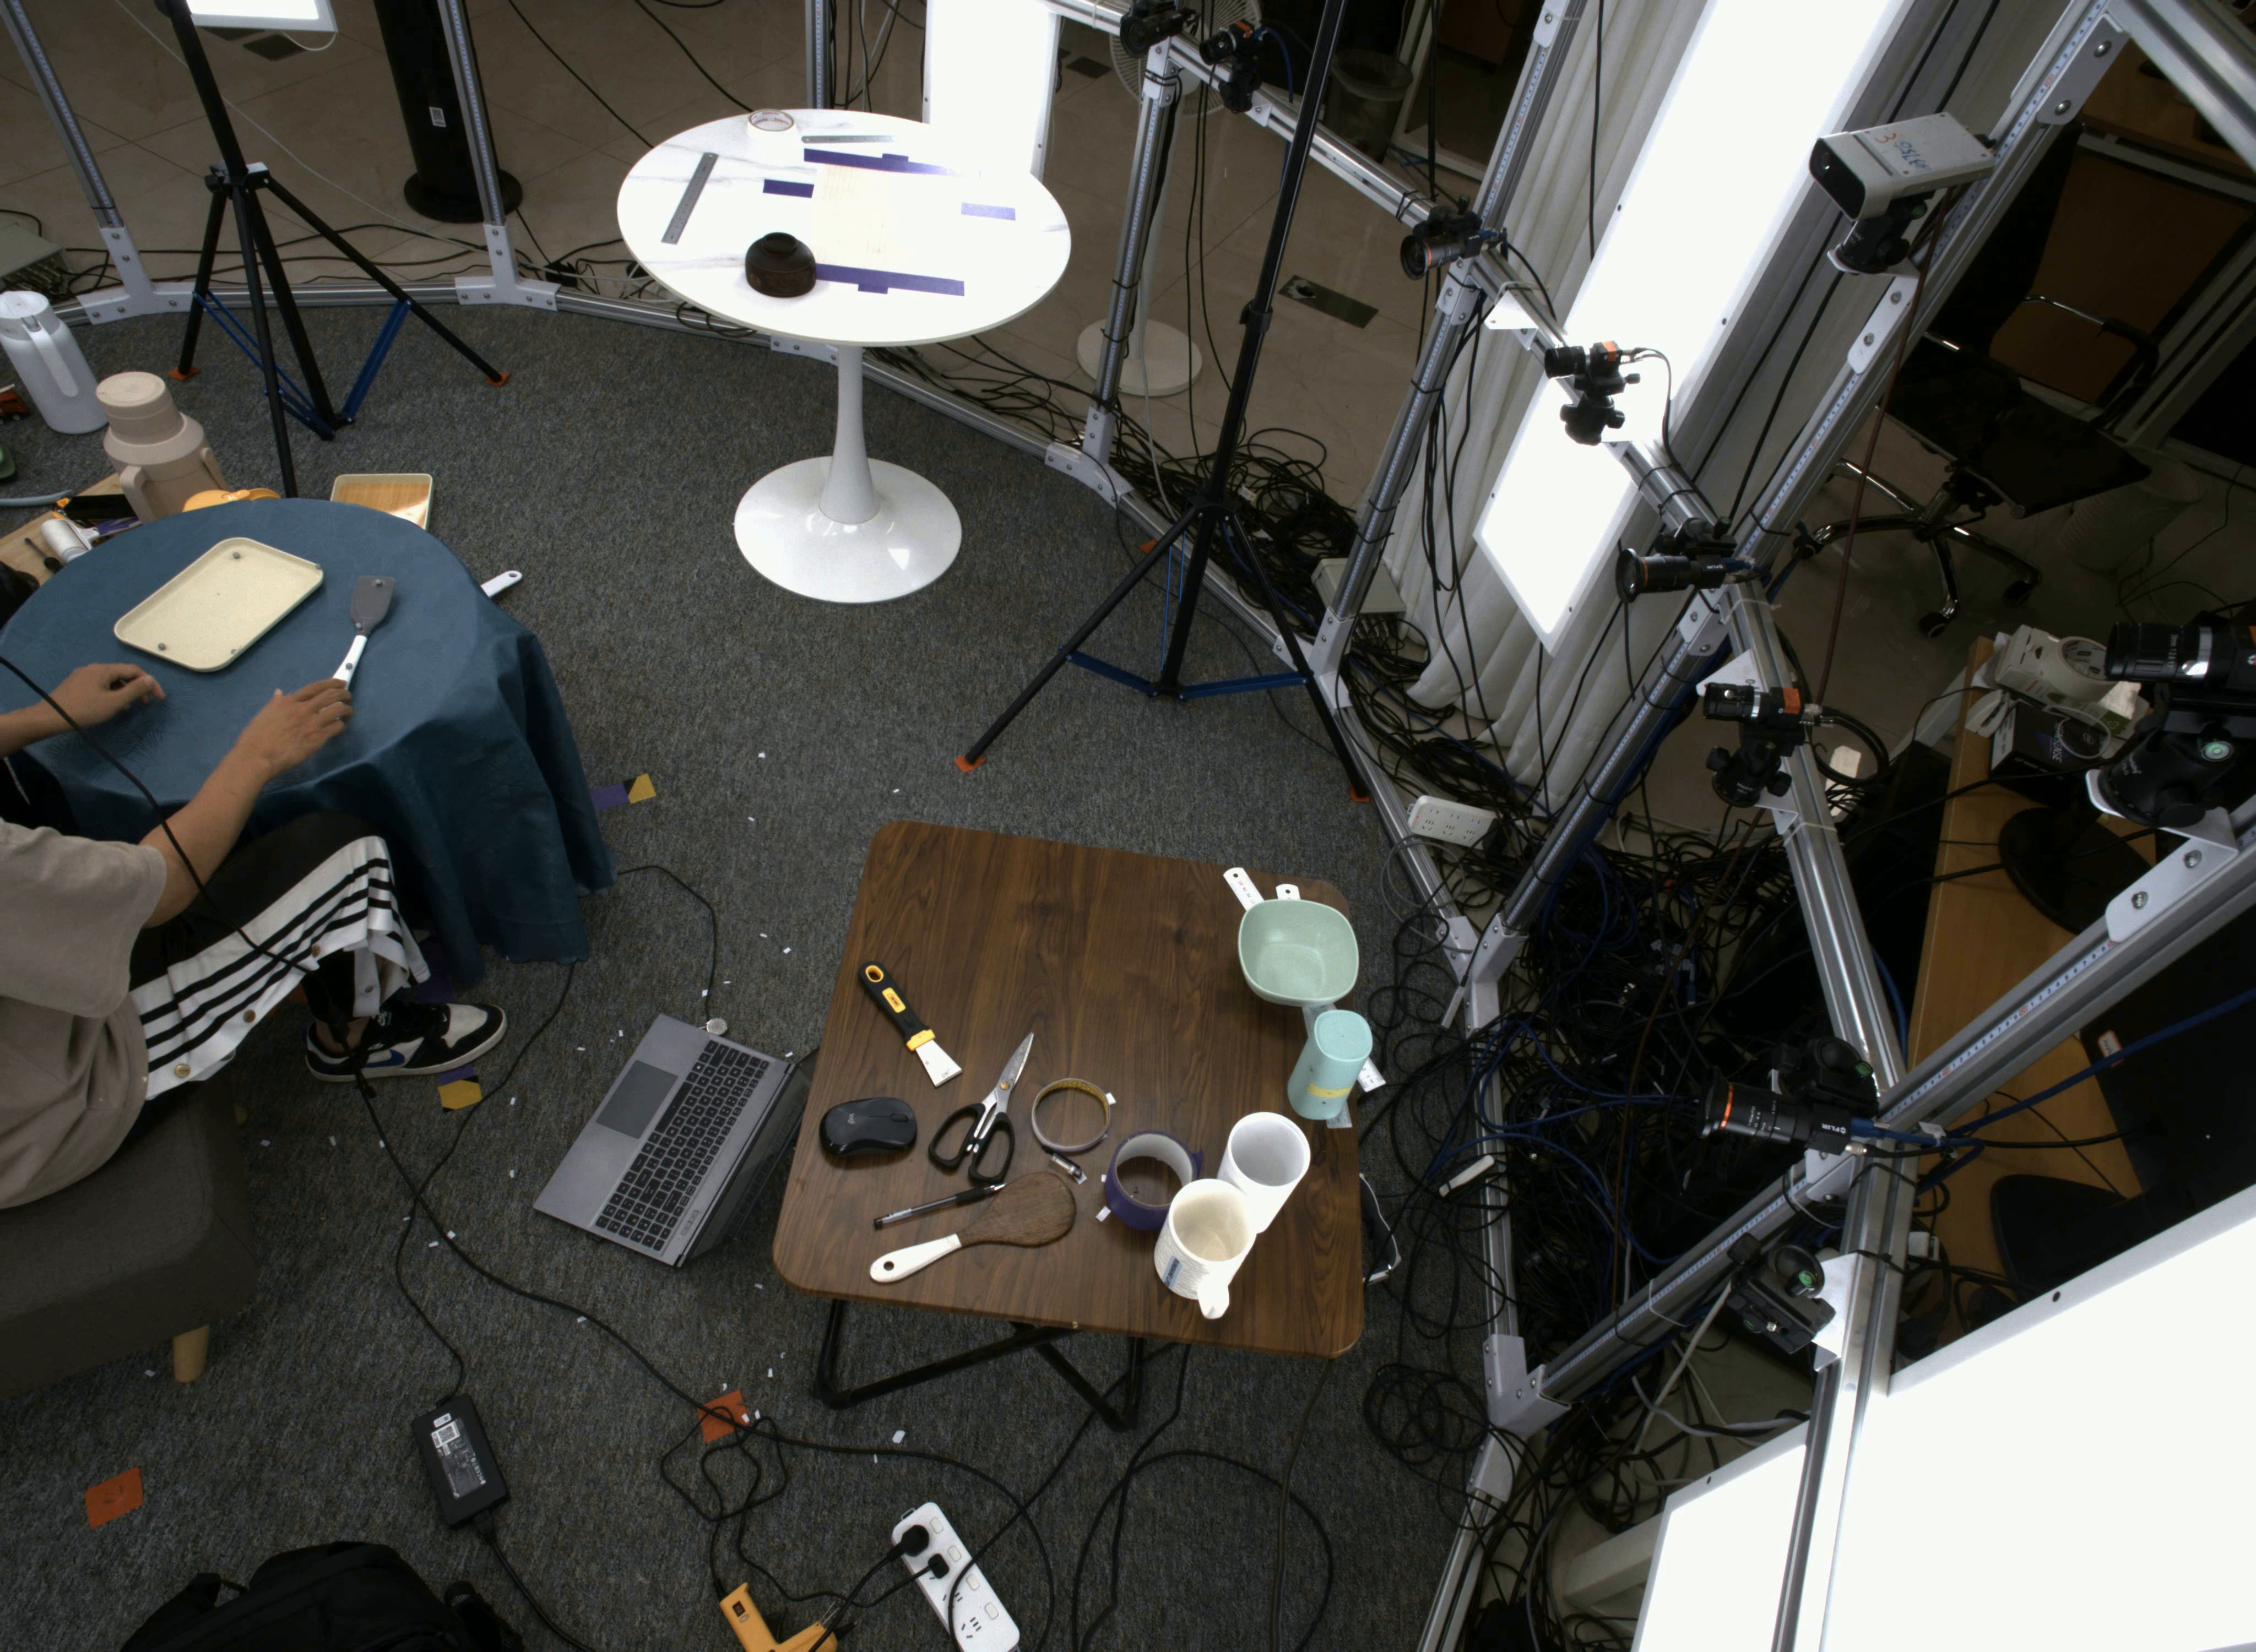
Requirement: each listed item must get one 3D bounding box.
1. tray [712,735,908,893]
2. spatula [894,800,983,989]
[{"bbox_3d":[-0.424,-0.019,1.738,0.168,0.018,0.239,32,53,12],"label":"tray"},{"bbox_3d":[-0.250,0.082,1.693,0.058,0.033,0.284,12,52,1],"label":"spatula"}]
